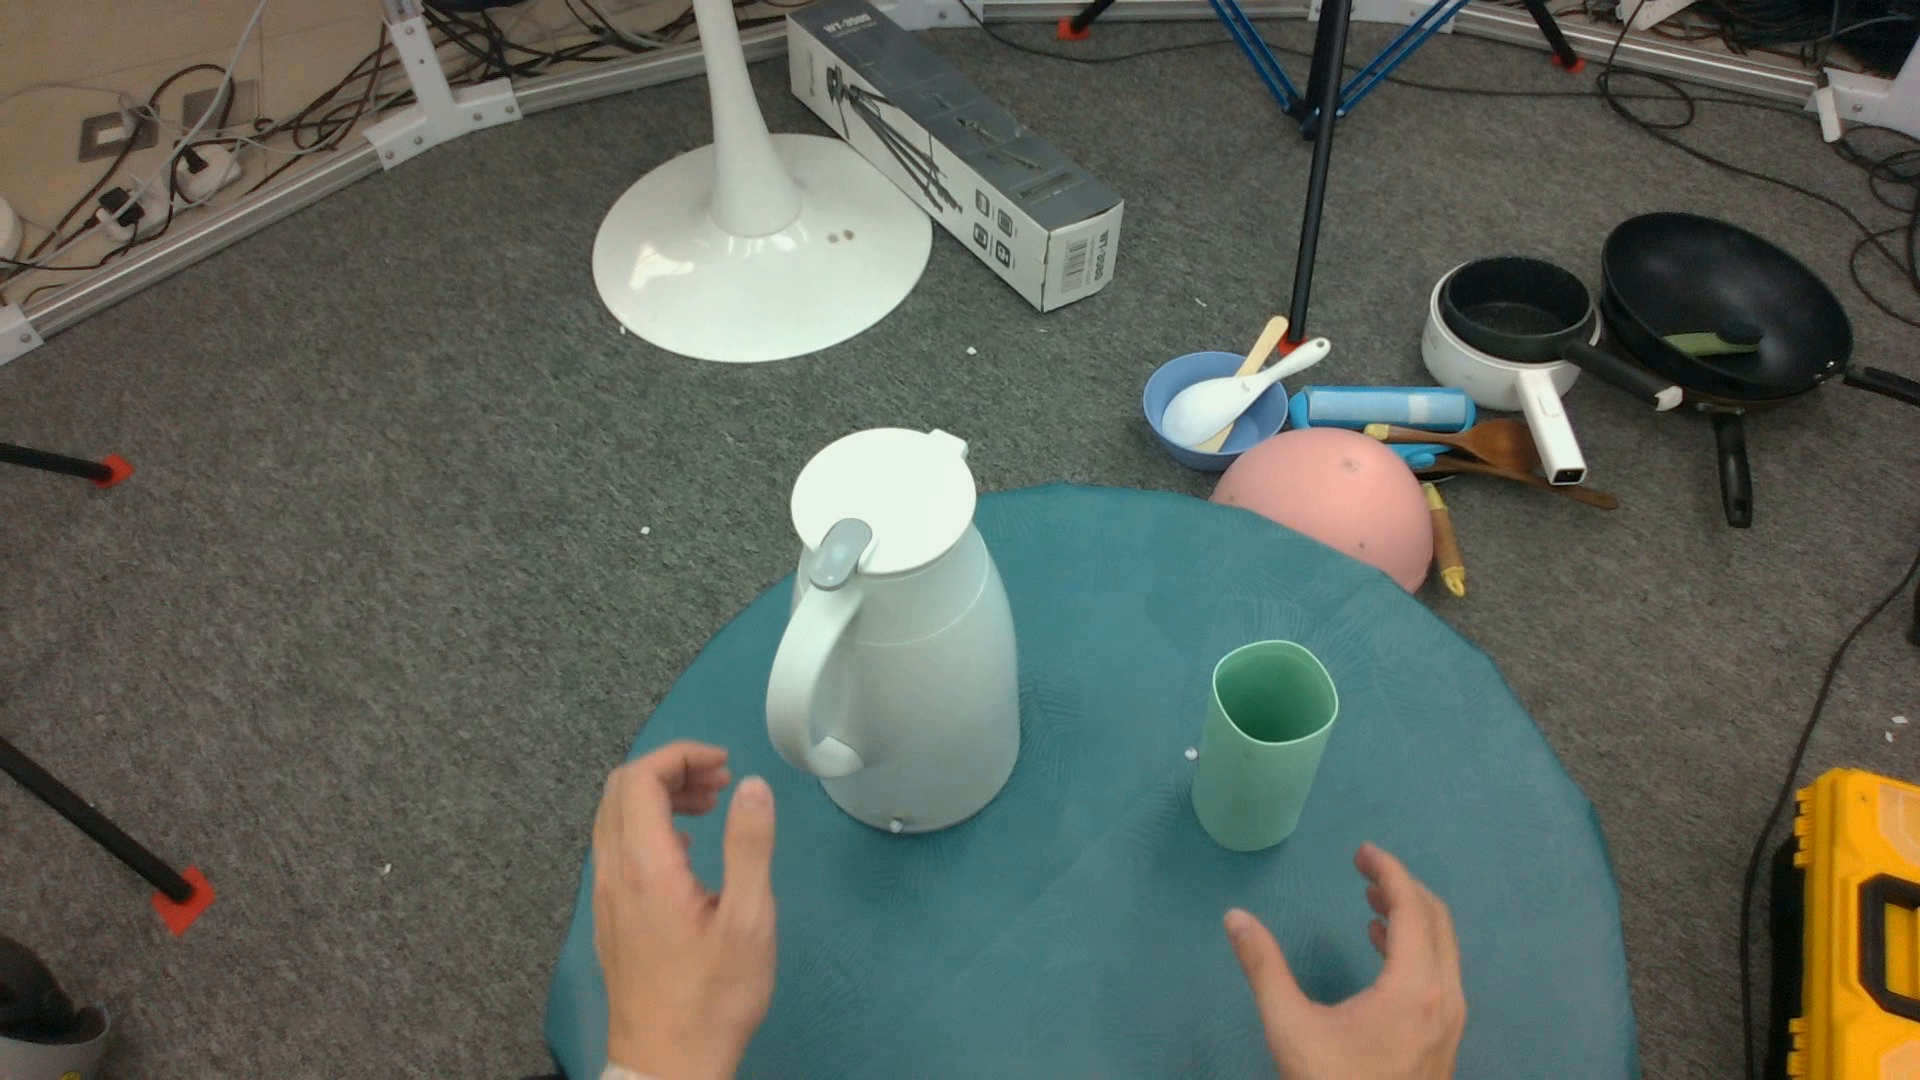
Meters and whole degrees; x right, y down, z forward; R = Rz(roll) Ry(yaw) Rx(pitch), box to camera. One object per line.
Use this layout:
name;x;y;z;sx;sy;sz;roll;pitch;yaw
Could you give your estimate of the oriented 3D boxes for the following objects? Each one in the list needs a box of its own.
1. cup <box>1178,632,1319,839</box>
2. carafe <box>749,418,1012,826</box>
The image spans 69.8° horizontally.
cup;0.162;0.115;0.783;0.067;0.131;0.067;-1;53;2
carafe;-0.050;0.059;0.758;0.132;0.247;0.168;24;58;21
